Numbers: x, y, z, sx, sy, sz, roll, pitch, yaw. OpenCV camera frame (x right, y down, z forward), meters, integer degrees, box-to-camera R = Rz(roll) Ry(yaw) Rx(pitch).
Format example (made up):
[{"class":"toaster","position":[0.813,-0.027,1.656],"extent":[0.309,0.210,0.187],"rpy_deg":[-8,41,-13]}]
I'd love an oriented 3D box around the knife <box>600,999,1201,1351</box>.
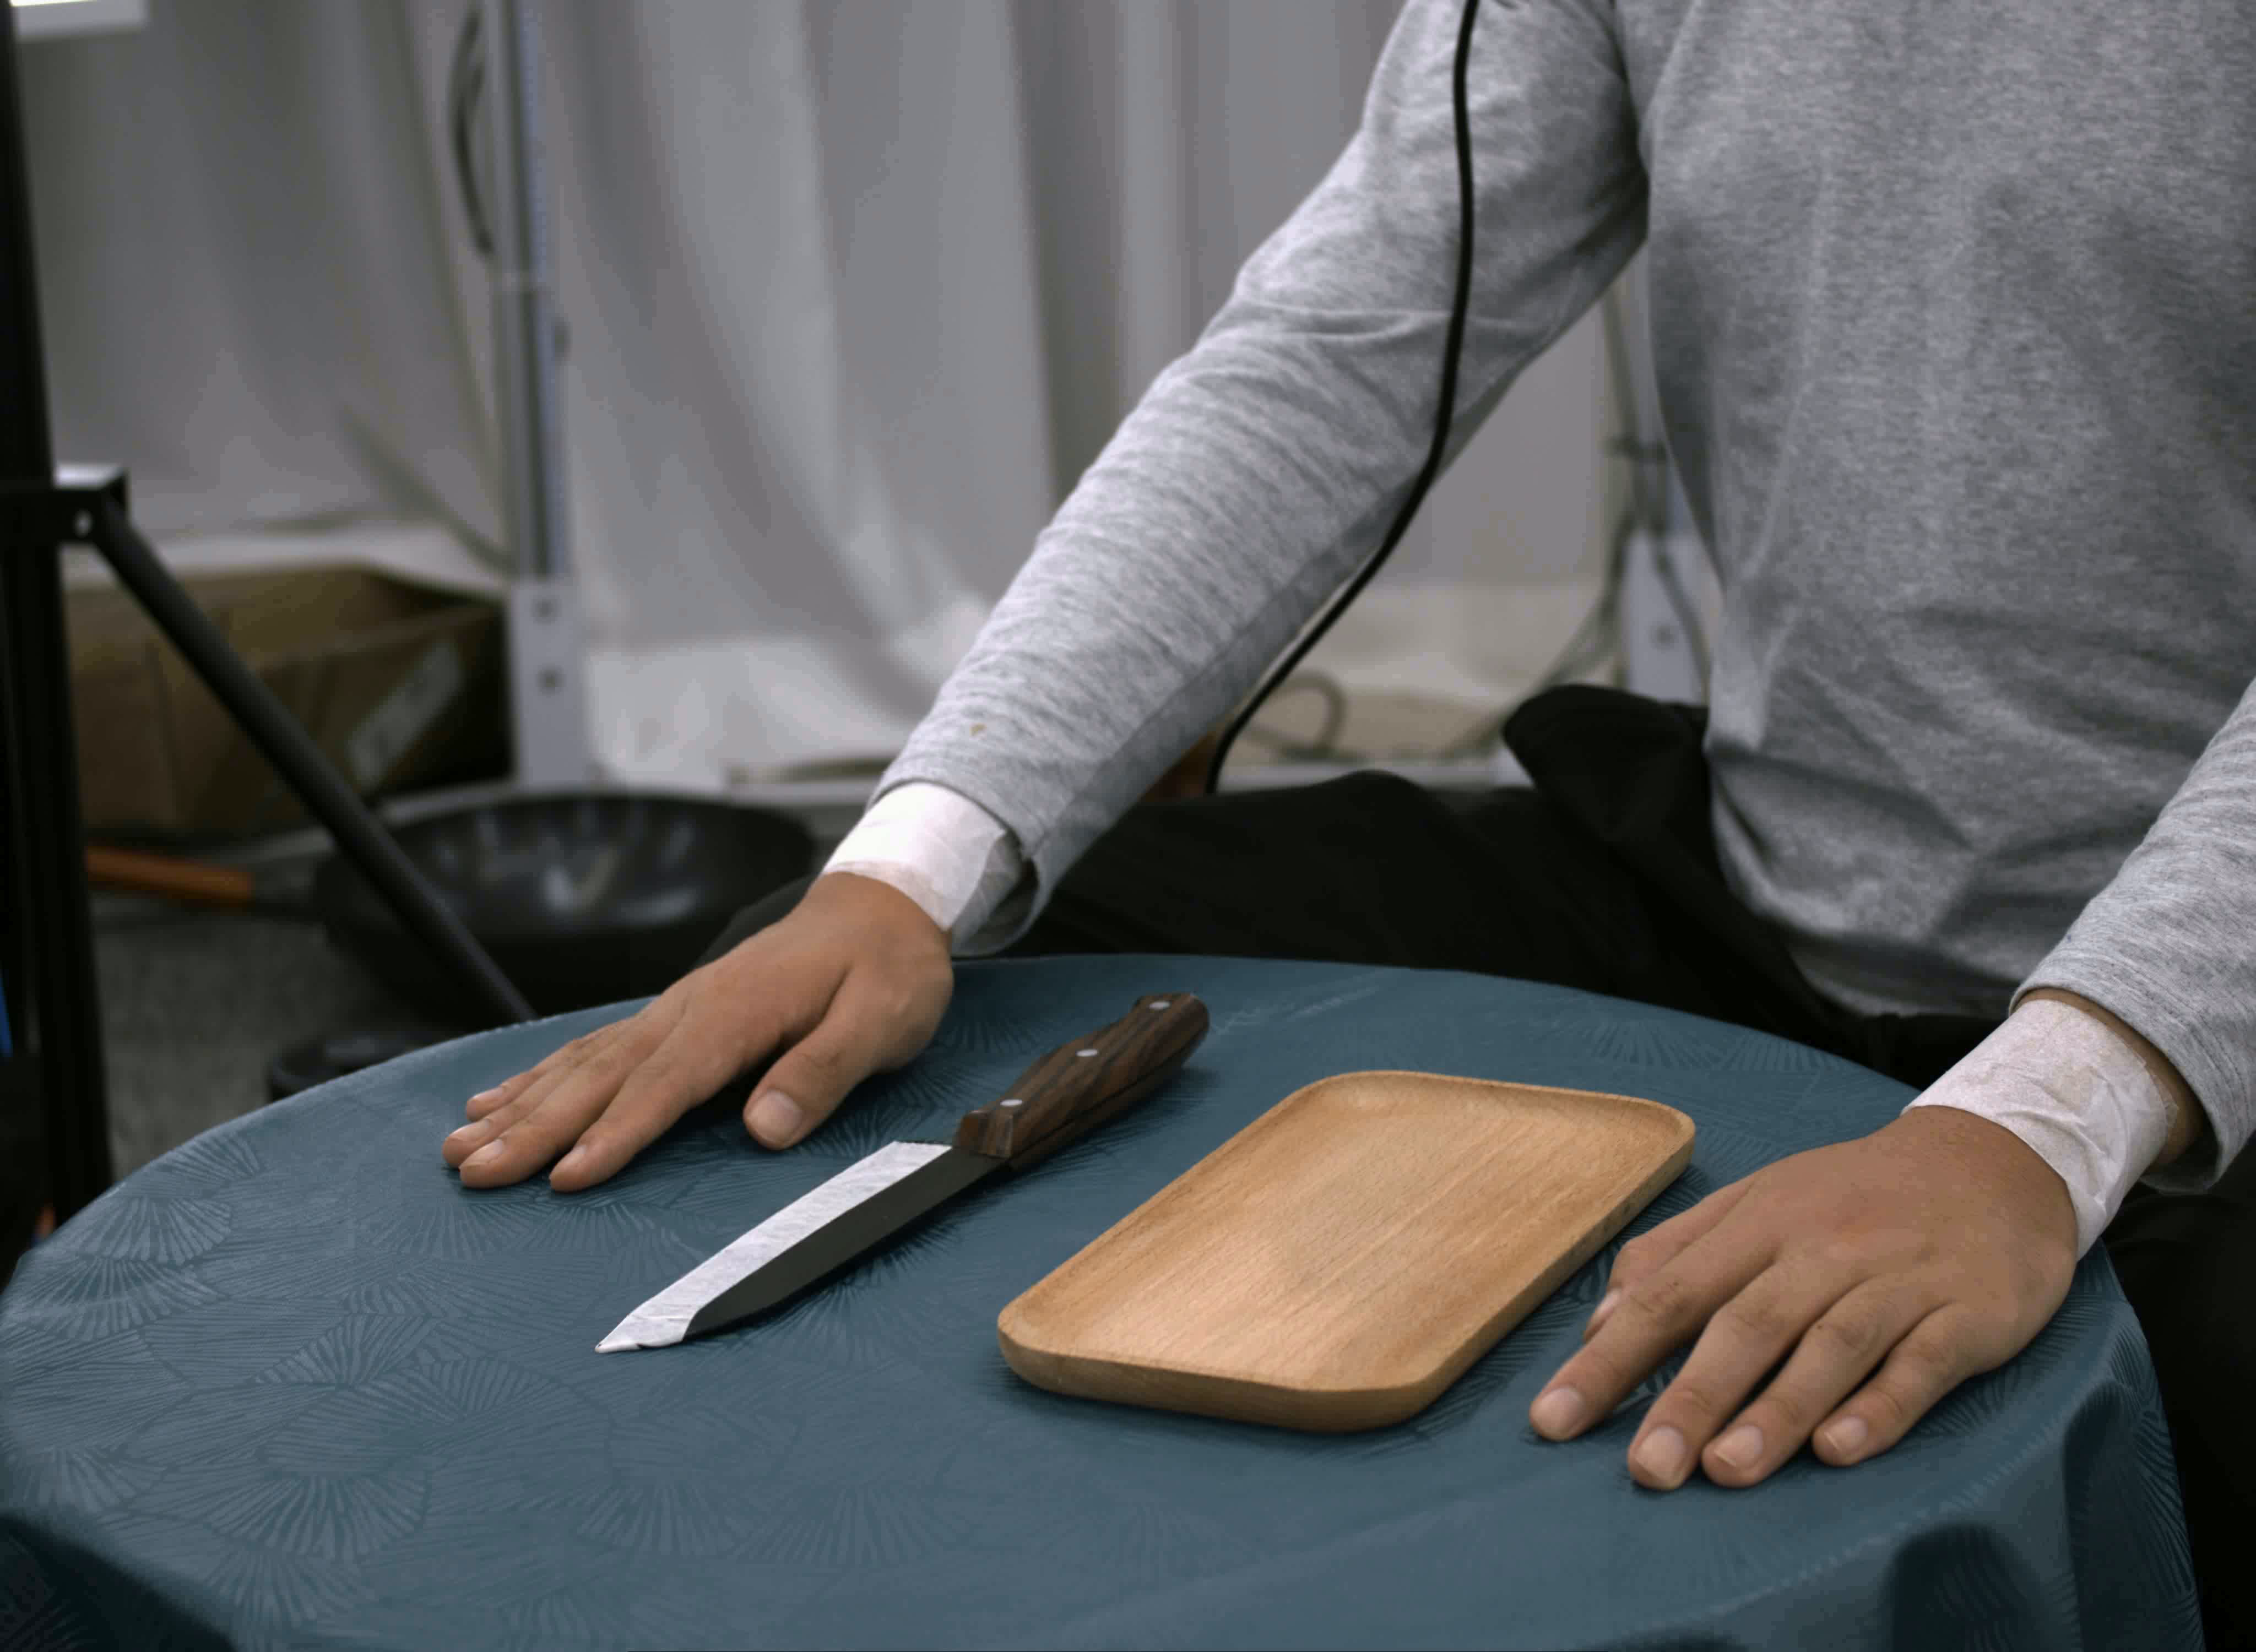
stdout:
[{"class":"knife","position":[-0.062,0.103,1.563],"extent":[0.051,0.020,0.284],"rpy_deg":[2,18,35]}]

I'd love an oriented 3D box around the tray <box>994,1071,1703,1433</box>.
[{"class":"tray","position":[0.067,0.117,1.492],"extent":[0.133,0.023,0.246],"rpy_deg":[8,18,26]}]
